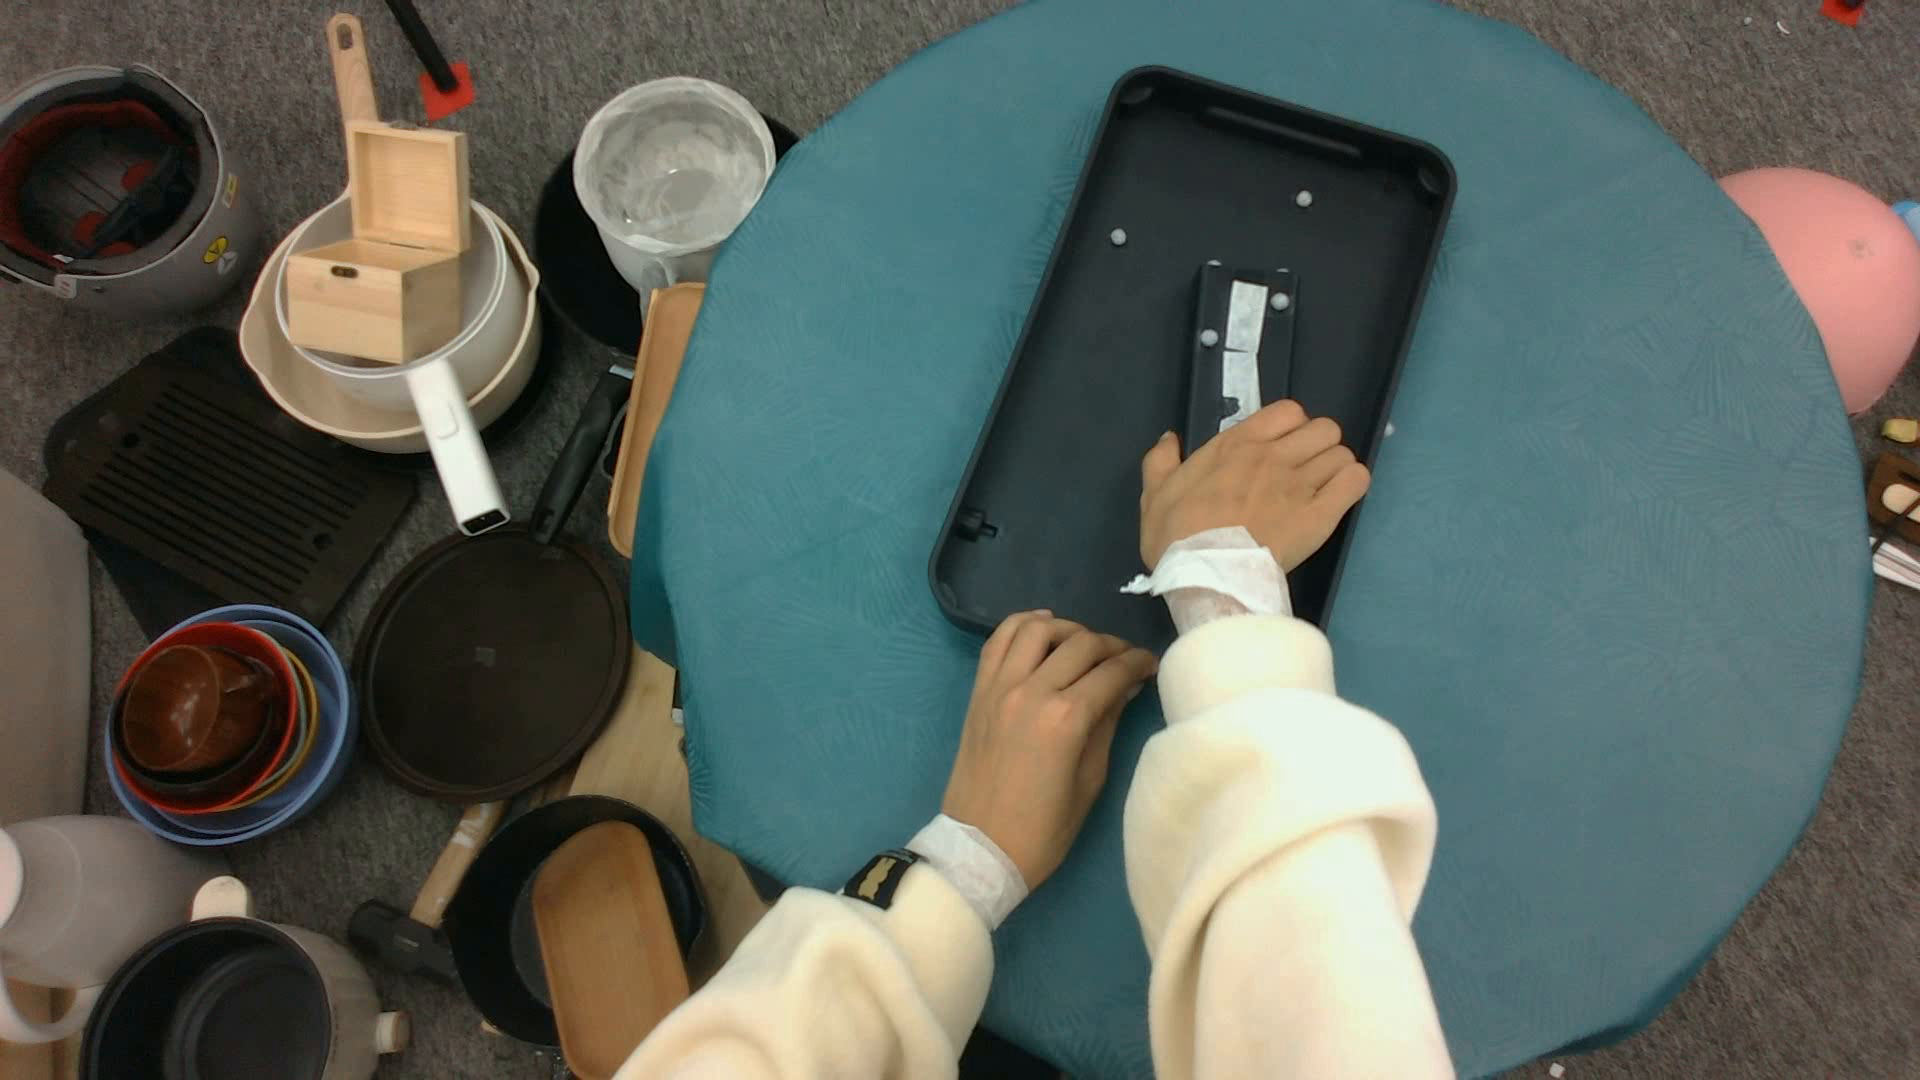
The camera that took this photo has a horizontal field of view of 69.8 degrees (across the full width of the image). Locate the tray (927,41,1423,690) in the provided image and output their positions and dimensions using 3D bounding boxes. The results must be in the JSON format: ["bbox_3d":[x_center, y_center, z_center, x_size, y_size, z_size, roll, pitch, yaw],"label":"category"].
[{"bbox_3d":[0.112,-0.095,0.687,0.184,0.037,0.319,16,72,5],"label":"tray"}]

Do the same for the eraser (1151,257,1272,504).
[{"bbox_3d":[0.125,-0.081,0.684,0.053,0.030,0.126,4,73,6],"label":"eraser"}]
